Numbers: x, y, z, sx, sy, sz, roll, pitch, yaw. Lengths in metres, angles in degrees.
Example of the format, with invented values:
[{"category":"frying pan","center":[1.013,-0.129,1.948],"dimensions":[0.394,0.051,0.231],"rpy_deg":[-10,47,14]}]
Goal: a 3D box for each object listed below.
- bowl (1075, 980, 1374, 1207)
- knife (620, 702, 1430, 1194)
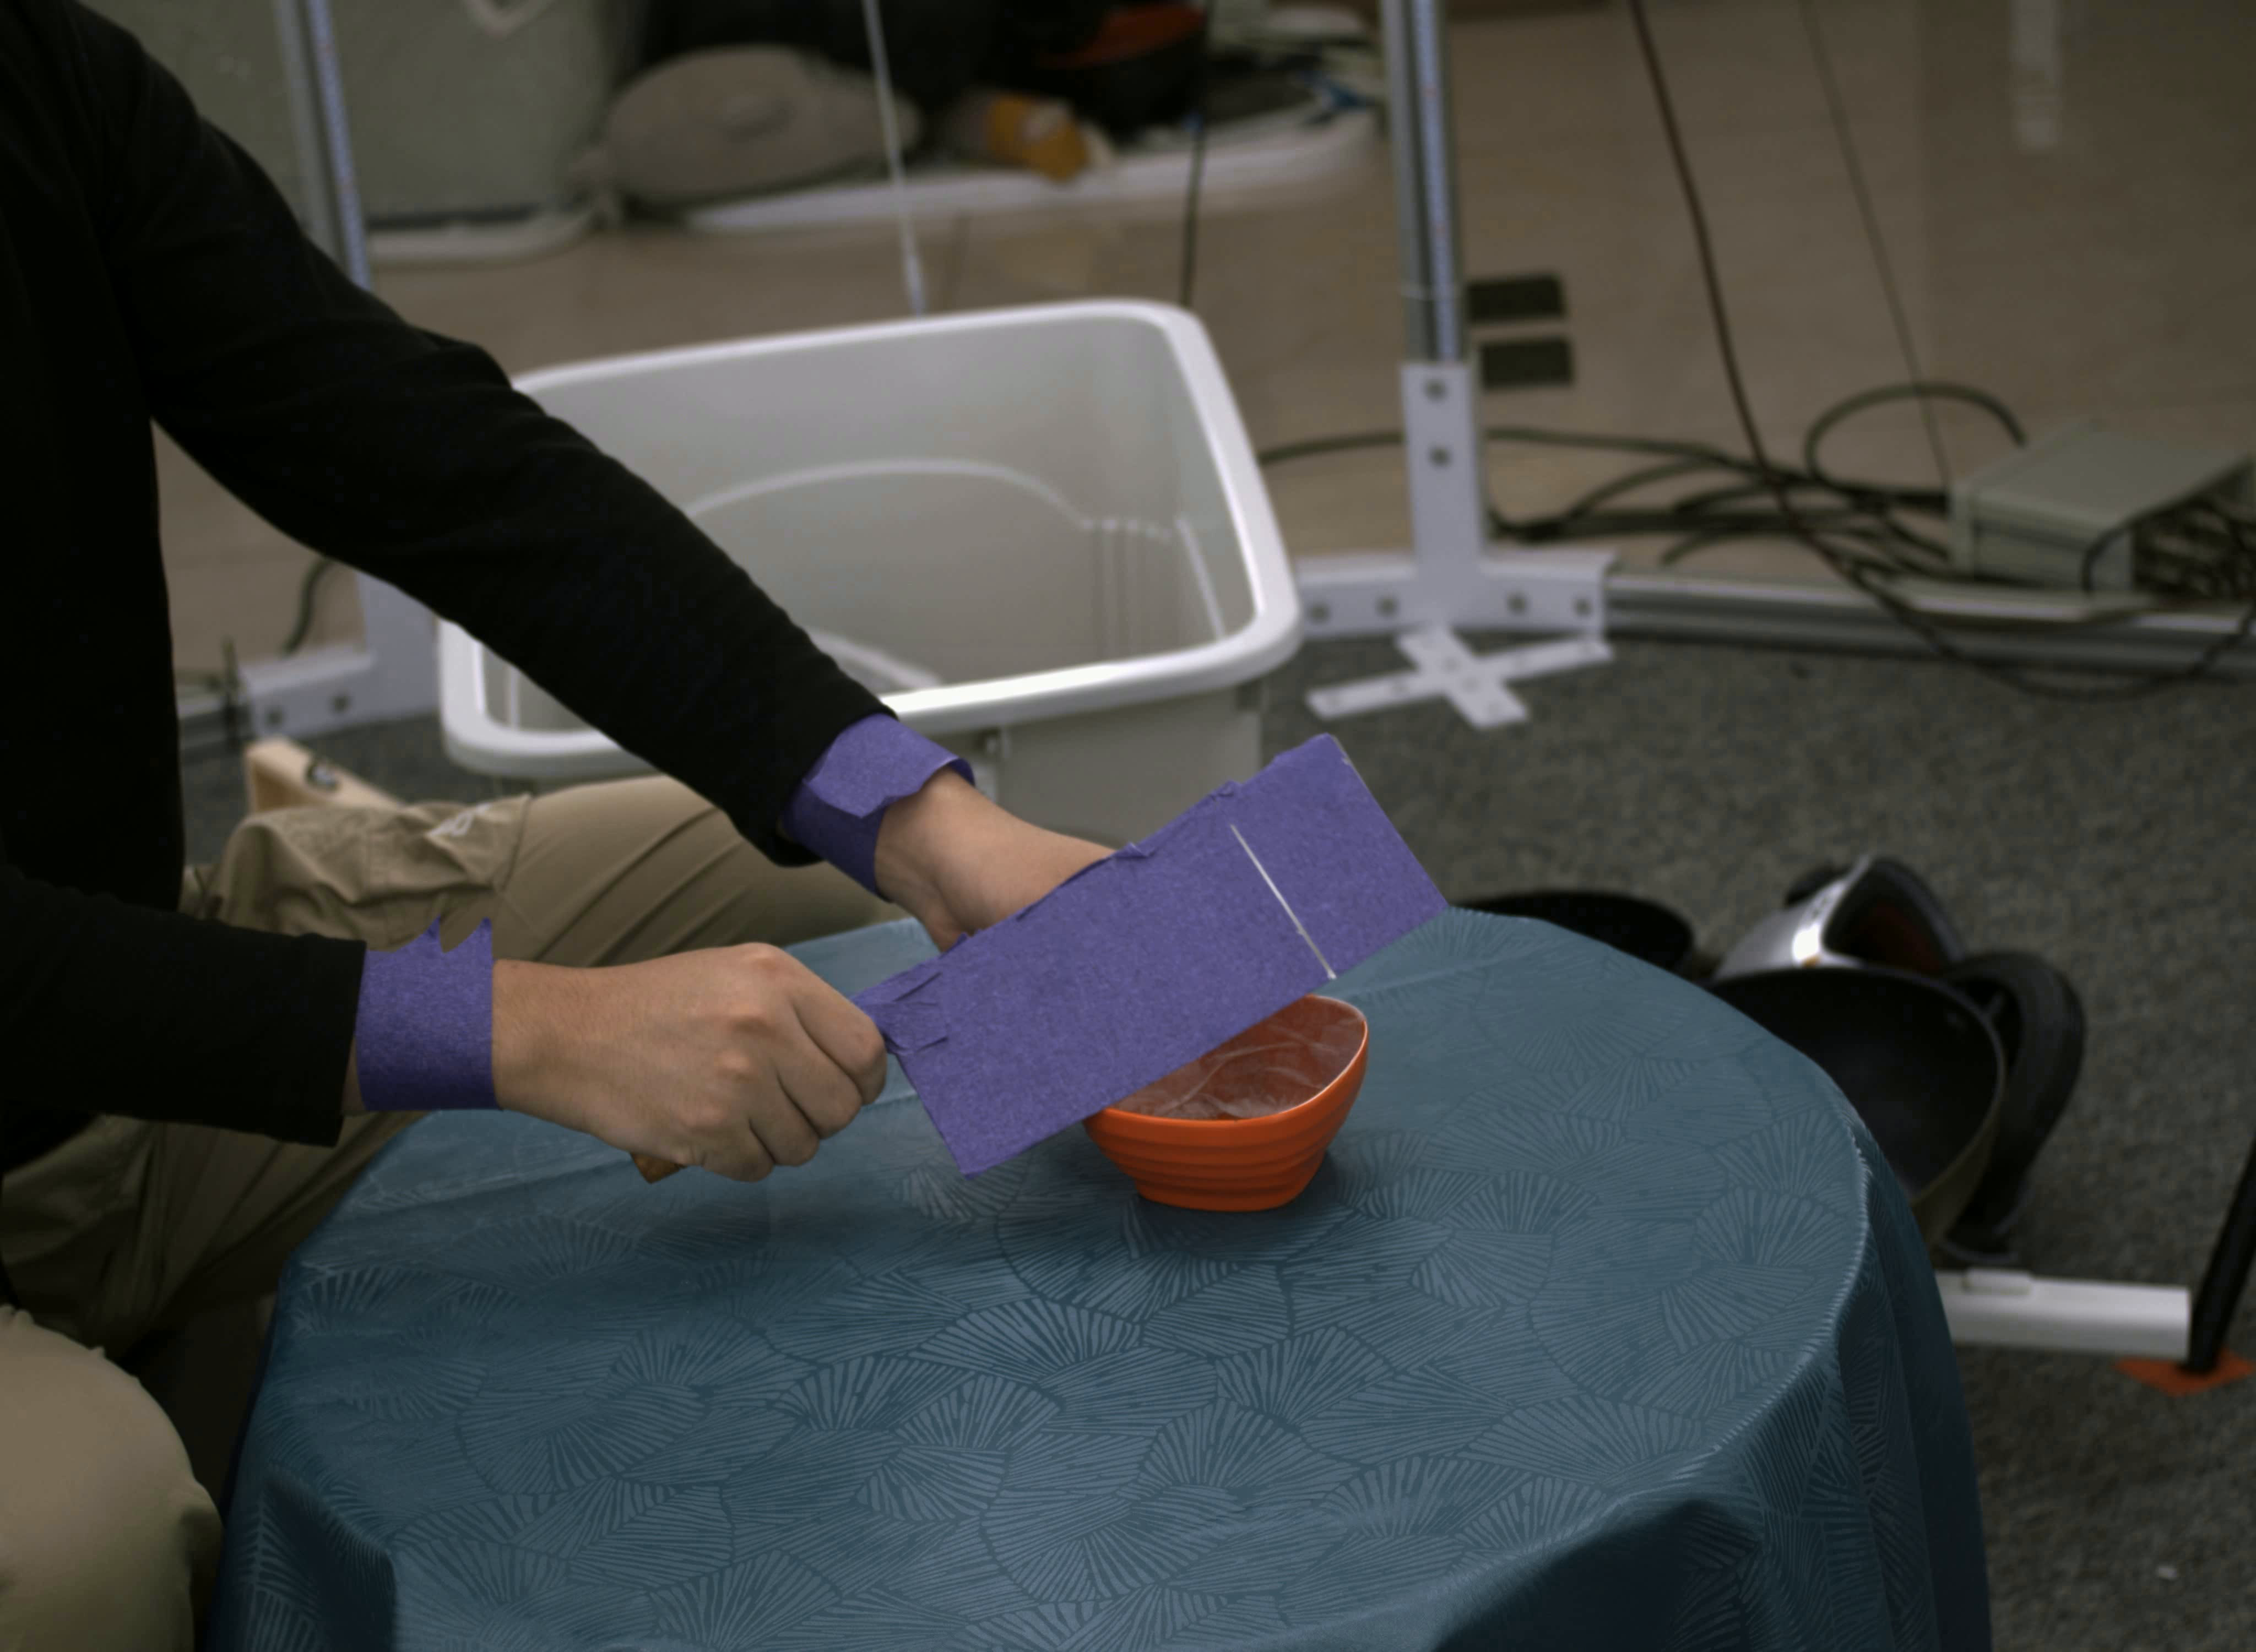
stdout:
[{"category":"bowl","center":[0.037,0.105,2.146],"dimensions":[0.119,0.052,0.117],"rpy_deg":[-3,28,2]},{"category":"knife","center":[-0.038,0.068,2.124],"dimensions":[0.315,0.032,0.102],"rpy_deg":[-31,63,-1]}]
